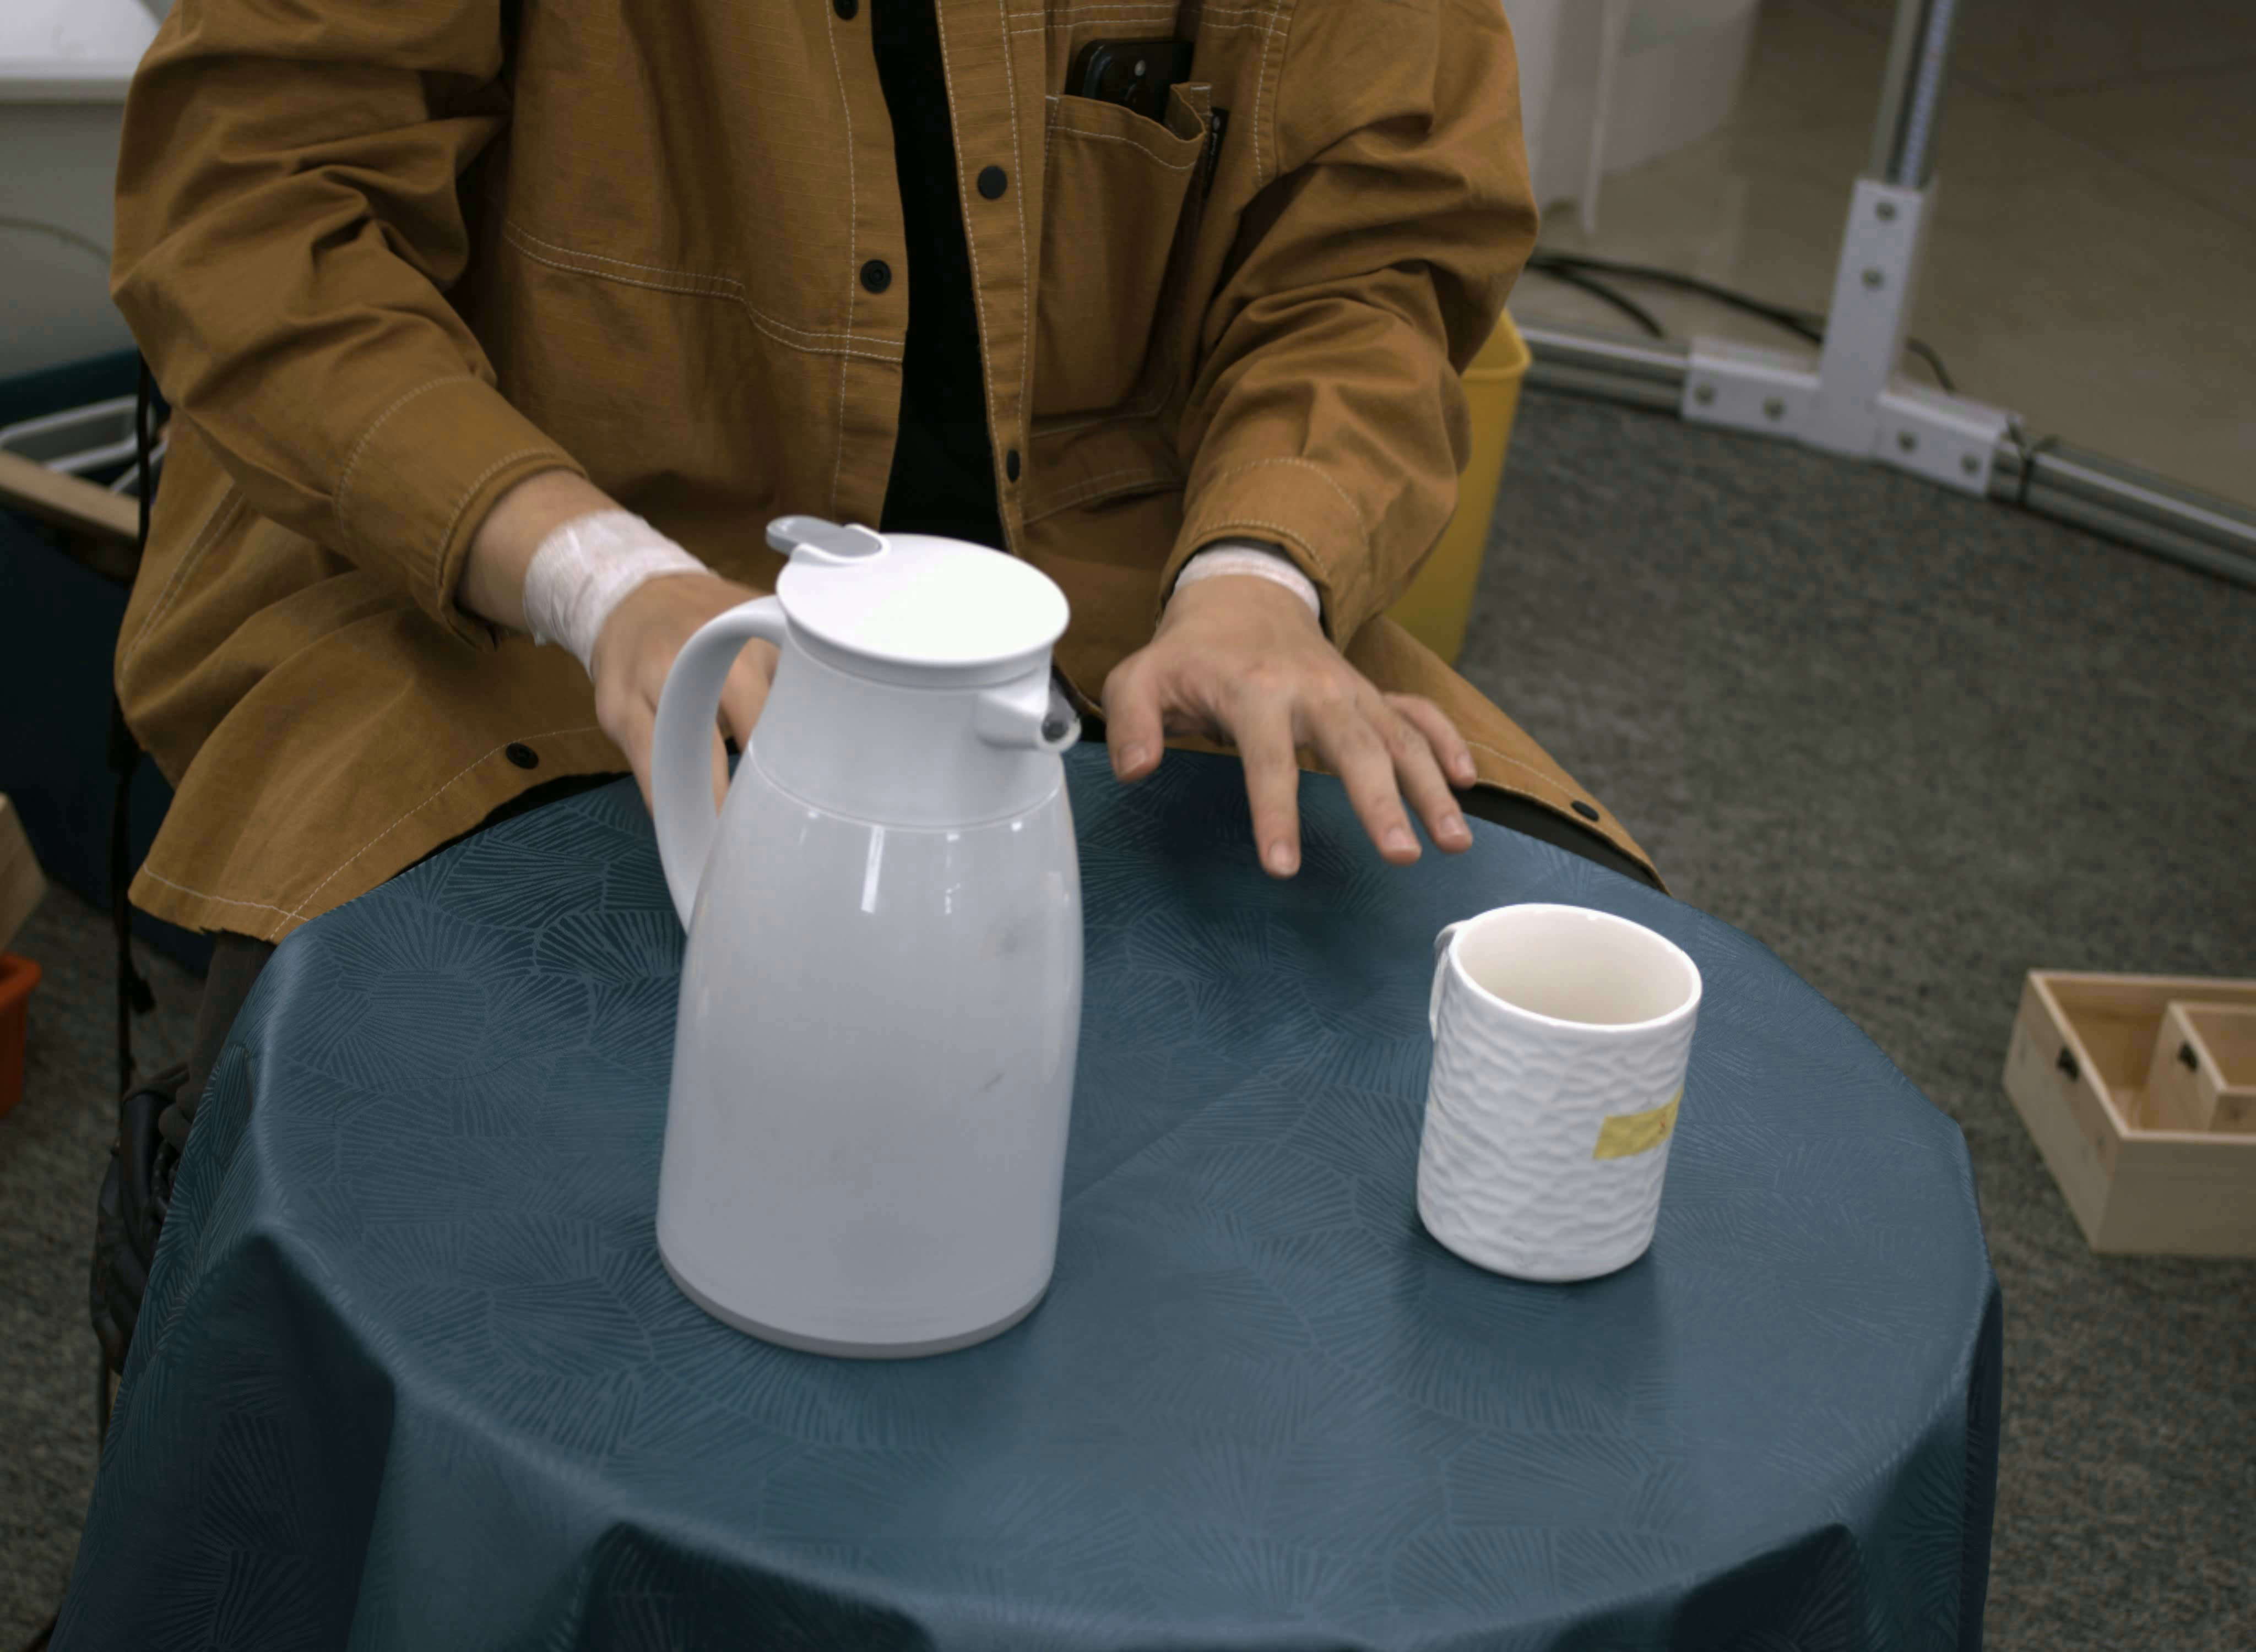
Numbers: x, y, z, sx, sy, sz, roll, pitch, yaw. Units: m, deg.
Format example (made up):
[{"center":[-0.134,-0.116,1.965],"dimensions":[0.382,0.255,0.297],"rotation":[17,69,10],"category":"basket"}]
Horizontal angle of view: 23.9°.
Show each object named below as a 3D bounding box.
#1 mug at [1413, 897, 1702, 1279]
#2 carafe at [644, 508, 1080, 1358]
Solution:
[{"center":[0.136,0.082,1.801],"dimensions":[0.084,0.101,0.119],"rotation":[-9,32,-27],"category":"mug"},{"center":[-0.093,0.024,1.707],"dimensions":[0.169,0.248,0.132],"rotation":[26,33,34],"category":"carafe"}]
